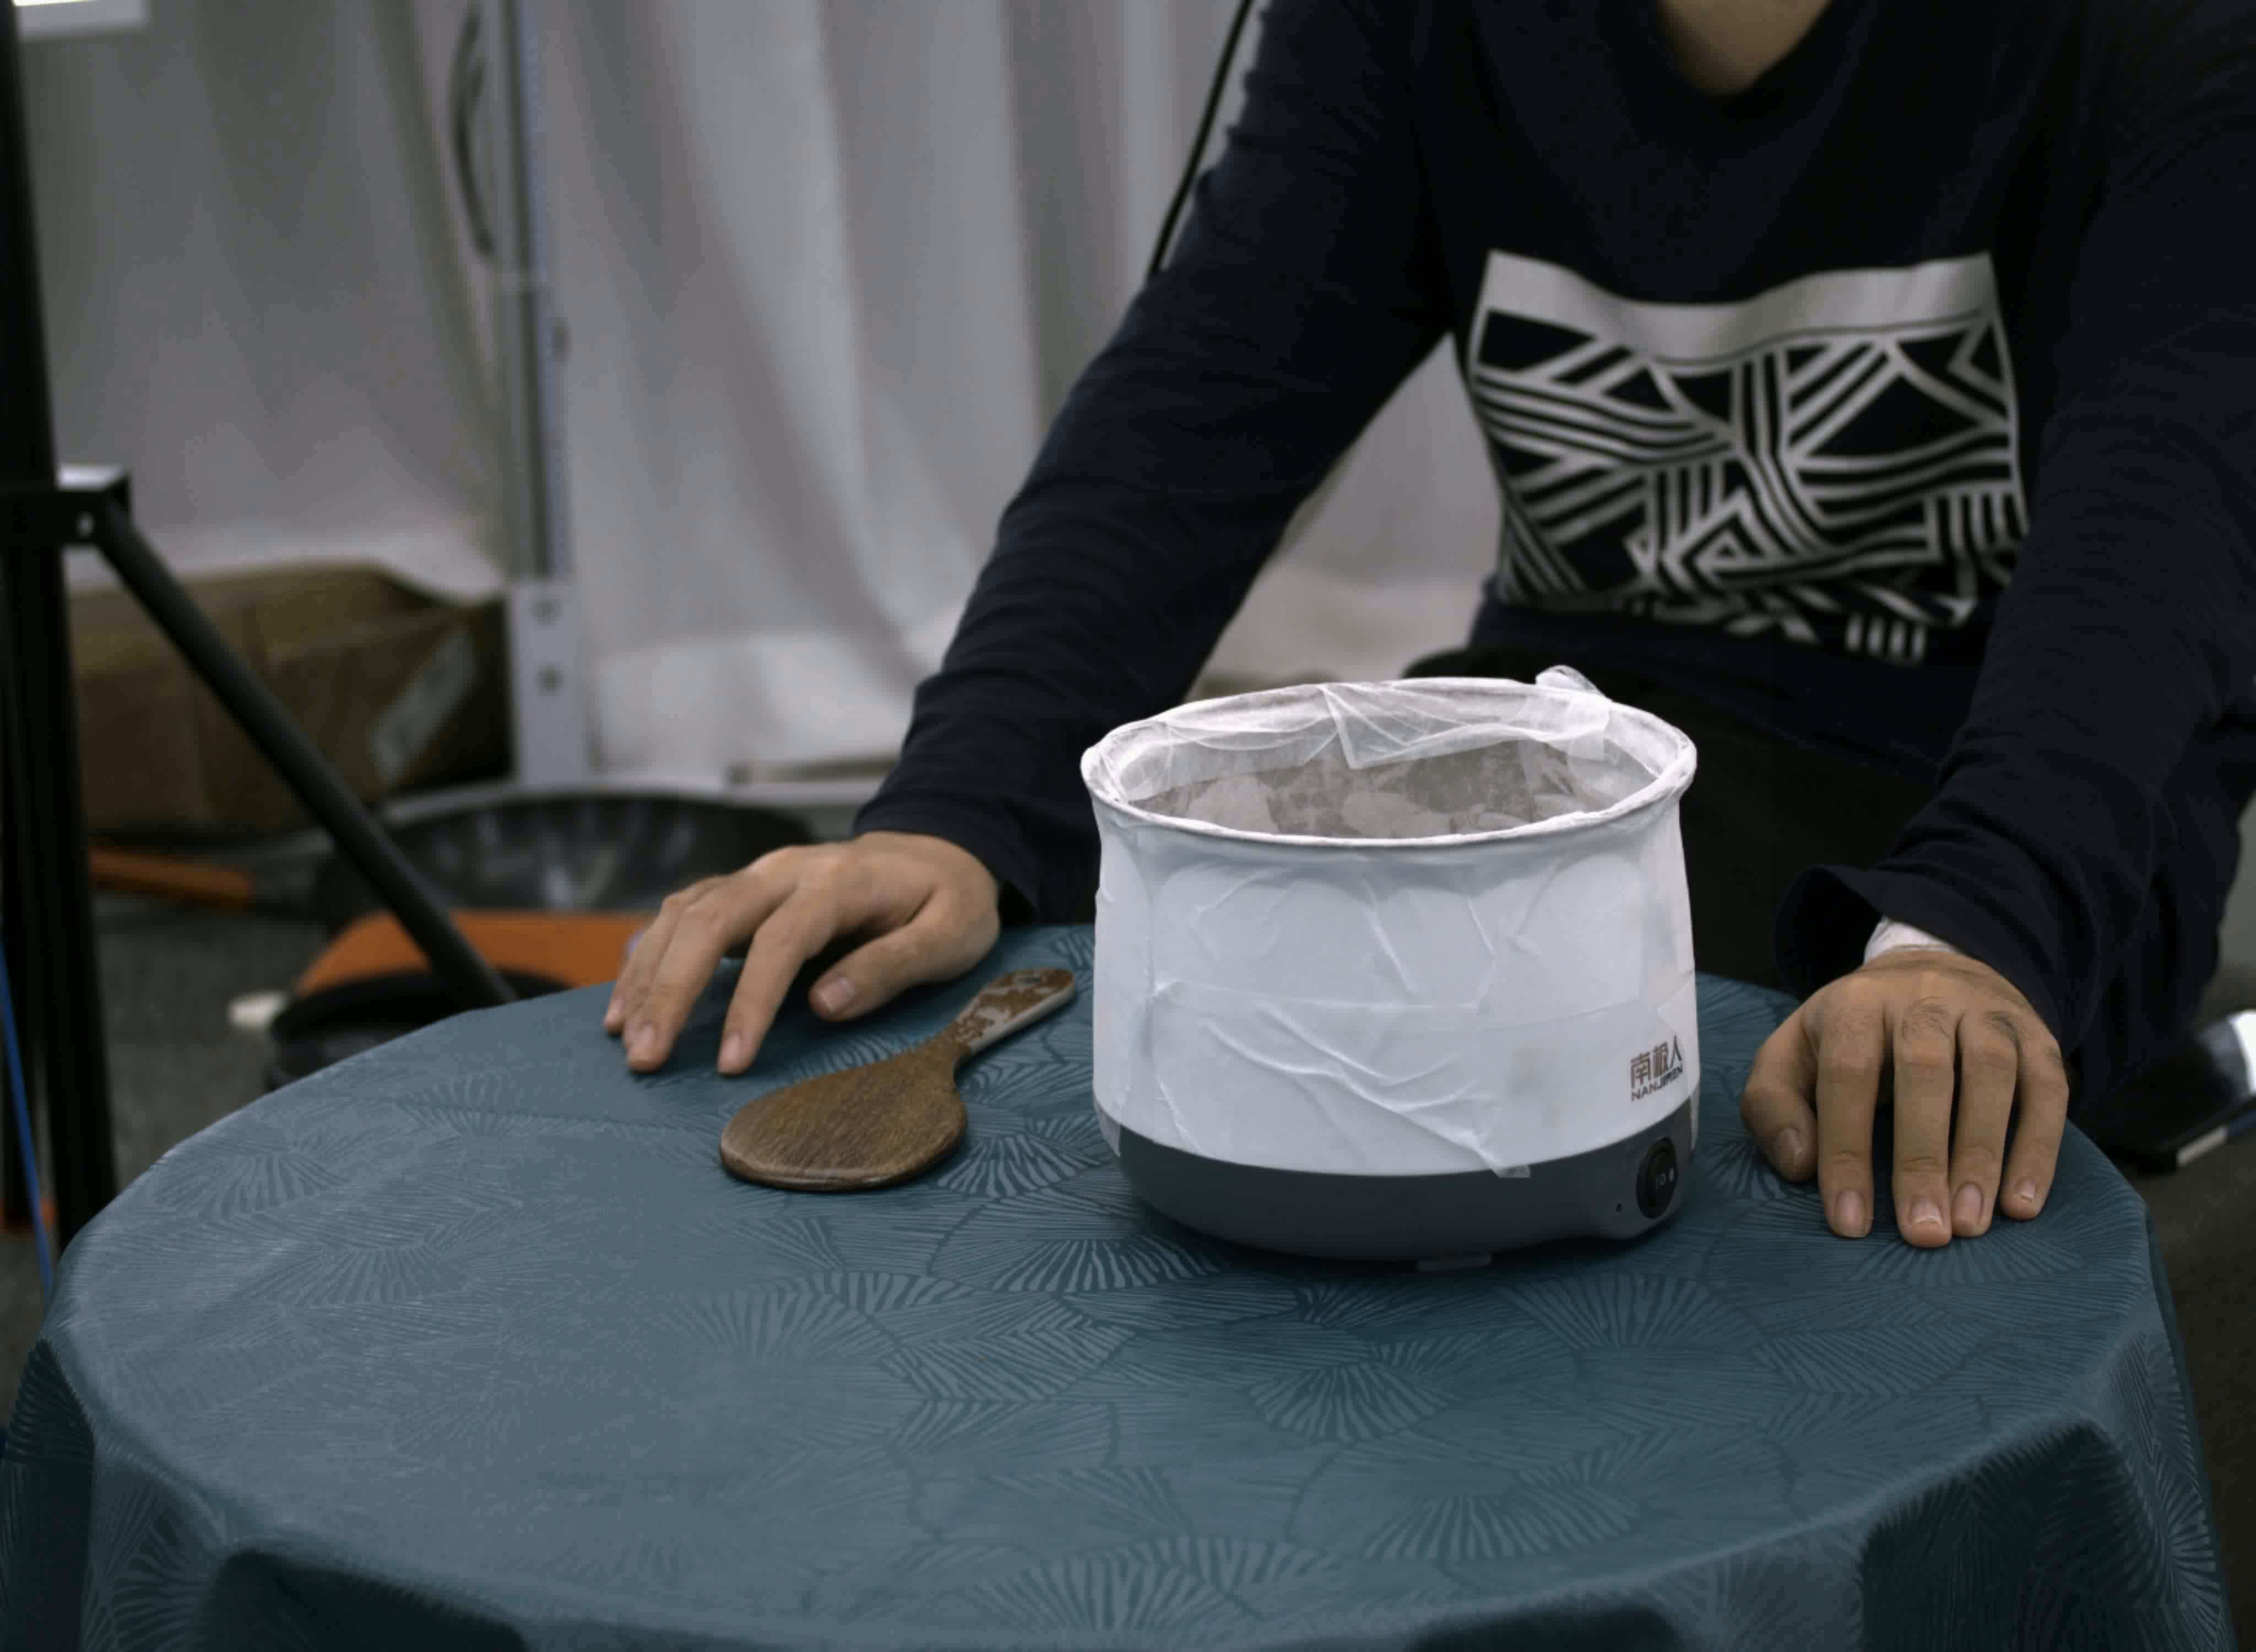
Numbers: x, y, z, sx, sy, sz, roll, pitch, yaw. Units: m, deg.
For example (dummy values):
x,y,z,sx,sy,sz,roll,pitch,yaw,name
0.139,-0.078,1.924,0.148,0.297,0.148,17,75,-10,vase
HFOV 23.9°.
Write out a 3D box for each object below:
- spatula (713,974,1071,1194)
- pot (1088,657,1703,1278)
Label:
x,y,z,sx,sy,sz,roll,pitch,yaw,name
-0.062,0.078,1.669,0.073,0.009,0.213,5,17,21,spatula
0.091,0.033,1.557,0.182,0.136,0.229,11,21,32,pot
